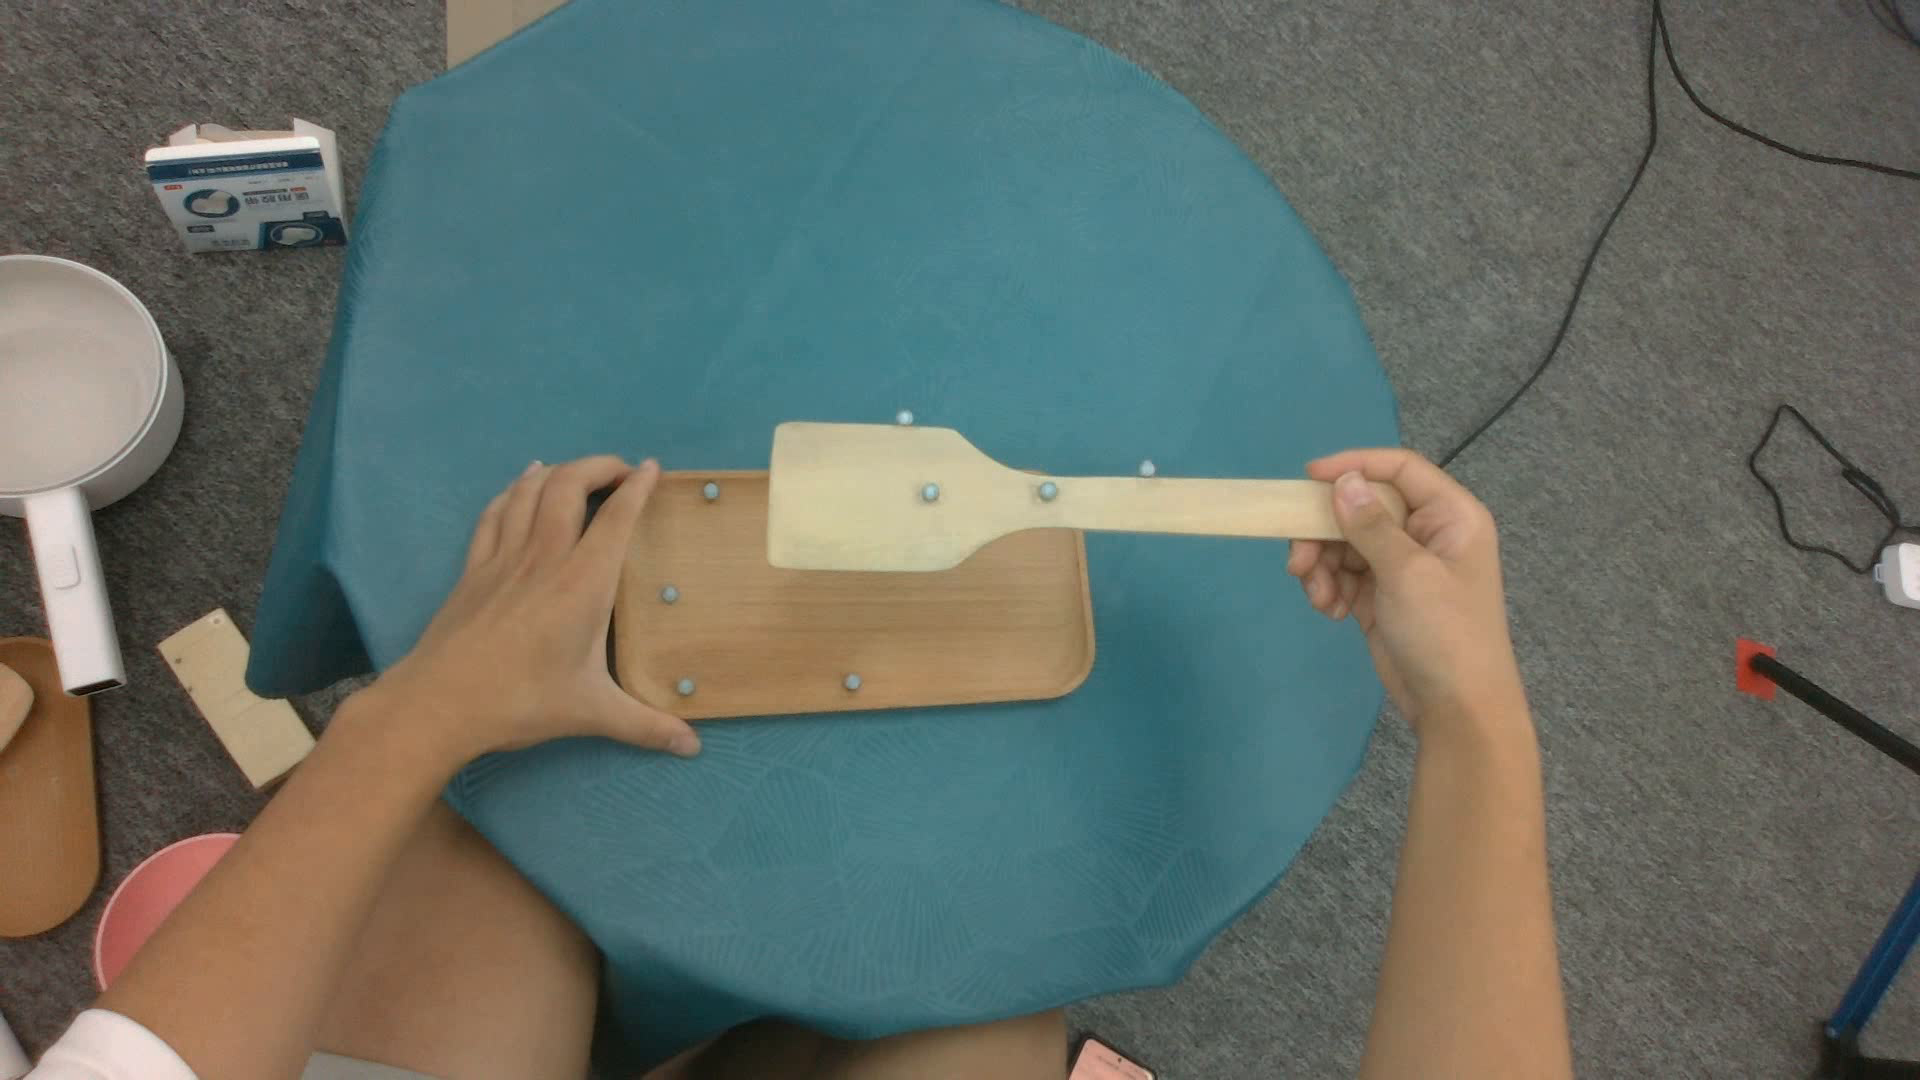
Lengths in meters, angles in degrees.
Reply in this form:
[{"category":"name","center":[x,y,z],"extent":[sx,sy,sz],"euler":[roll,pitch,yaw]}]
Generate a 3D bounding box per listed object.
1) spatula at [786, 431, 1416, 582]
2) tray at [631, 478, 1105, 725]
[{"category":"spatula","center":[0.067,-0.015,0.642],"extent":[0.293,0.010,0.072],"euler":[1,77,-1]},{"category":"tray","center":[-0.046,0.030,0.732],"extent":[0.251,0.023,0.131],"euler":[0,77,-16]}]
